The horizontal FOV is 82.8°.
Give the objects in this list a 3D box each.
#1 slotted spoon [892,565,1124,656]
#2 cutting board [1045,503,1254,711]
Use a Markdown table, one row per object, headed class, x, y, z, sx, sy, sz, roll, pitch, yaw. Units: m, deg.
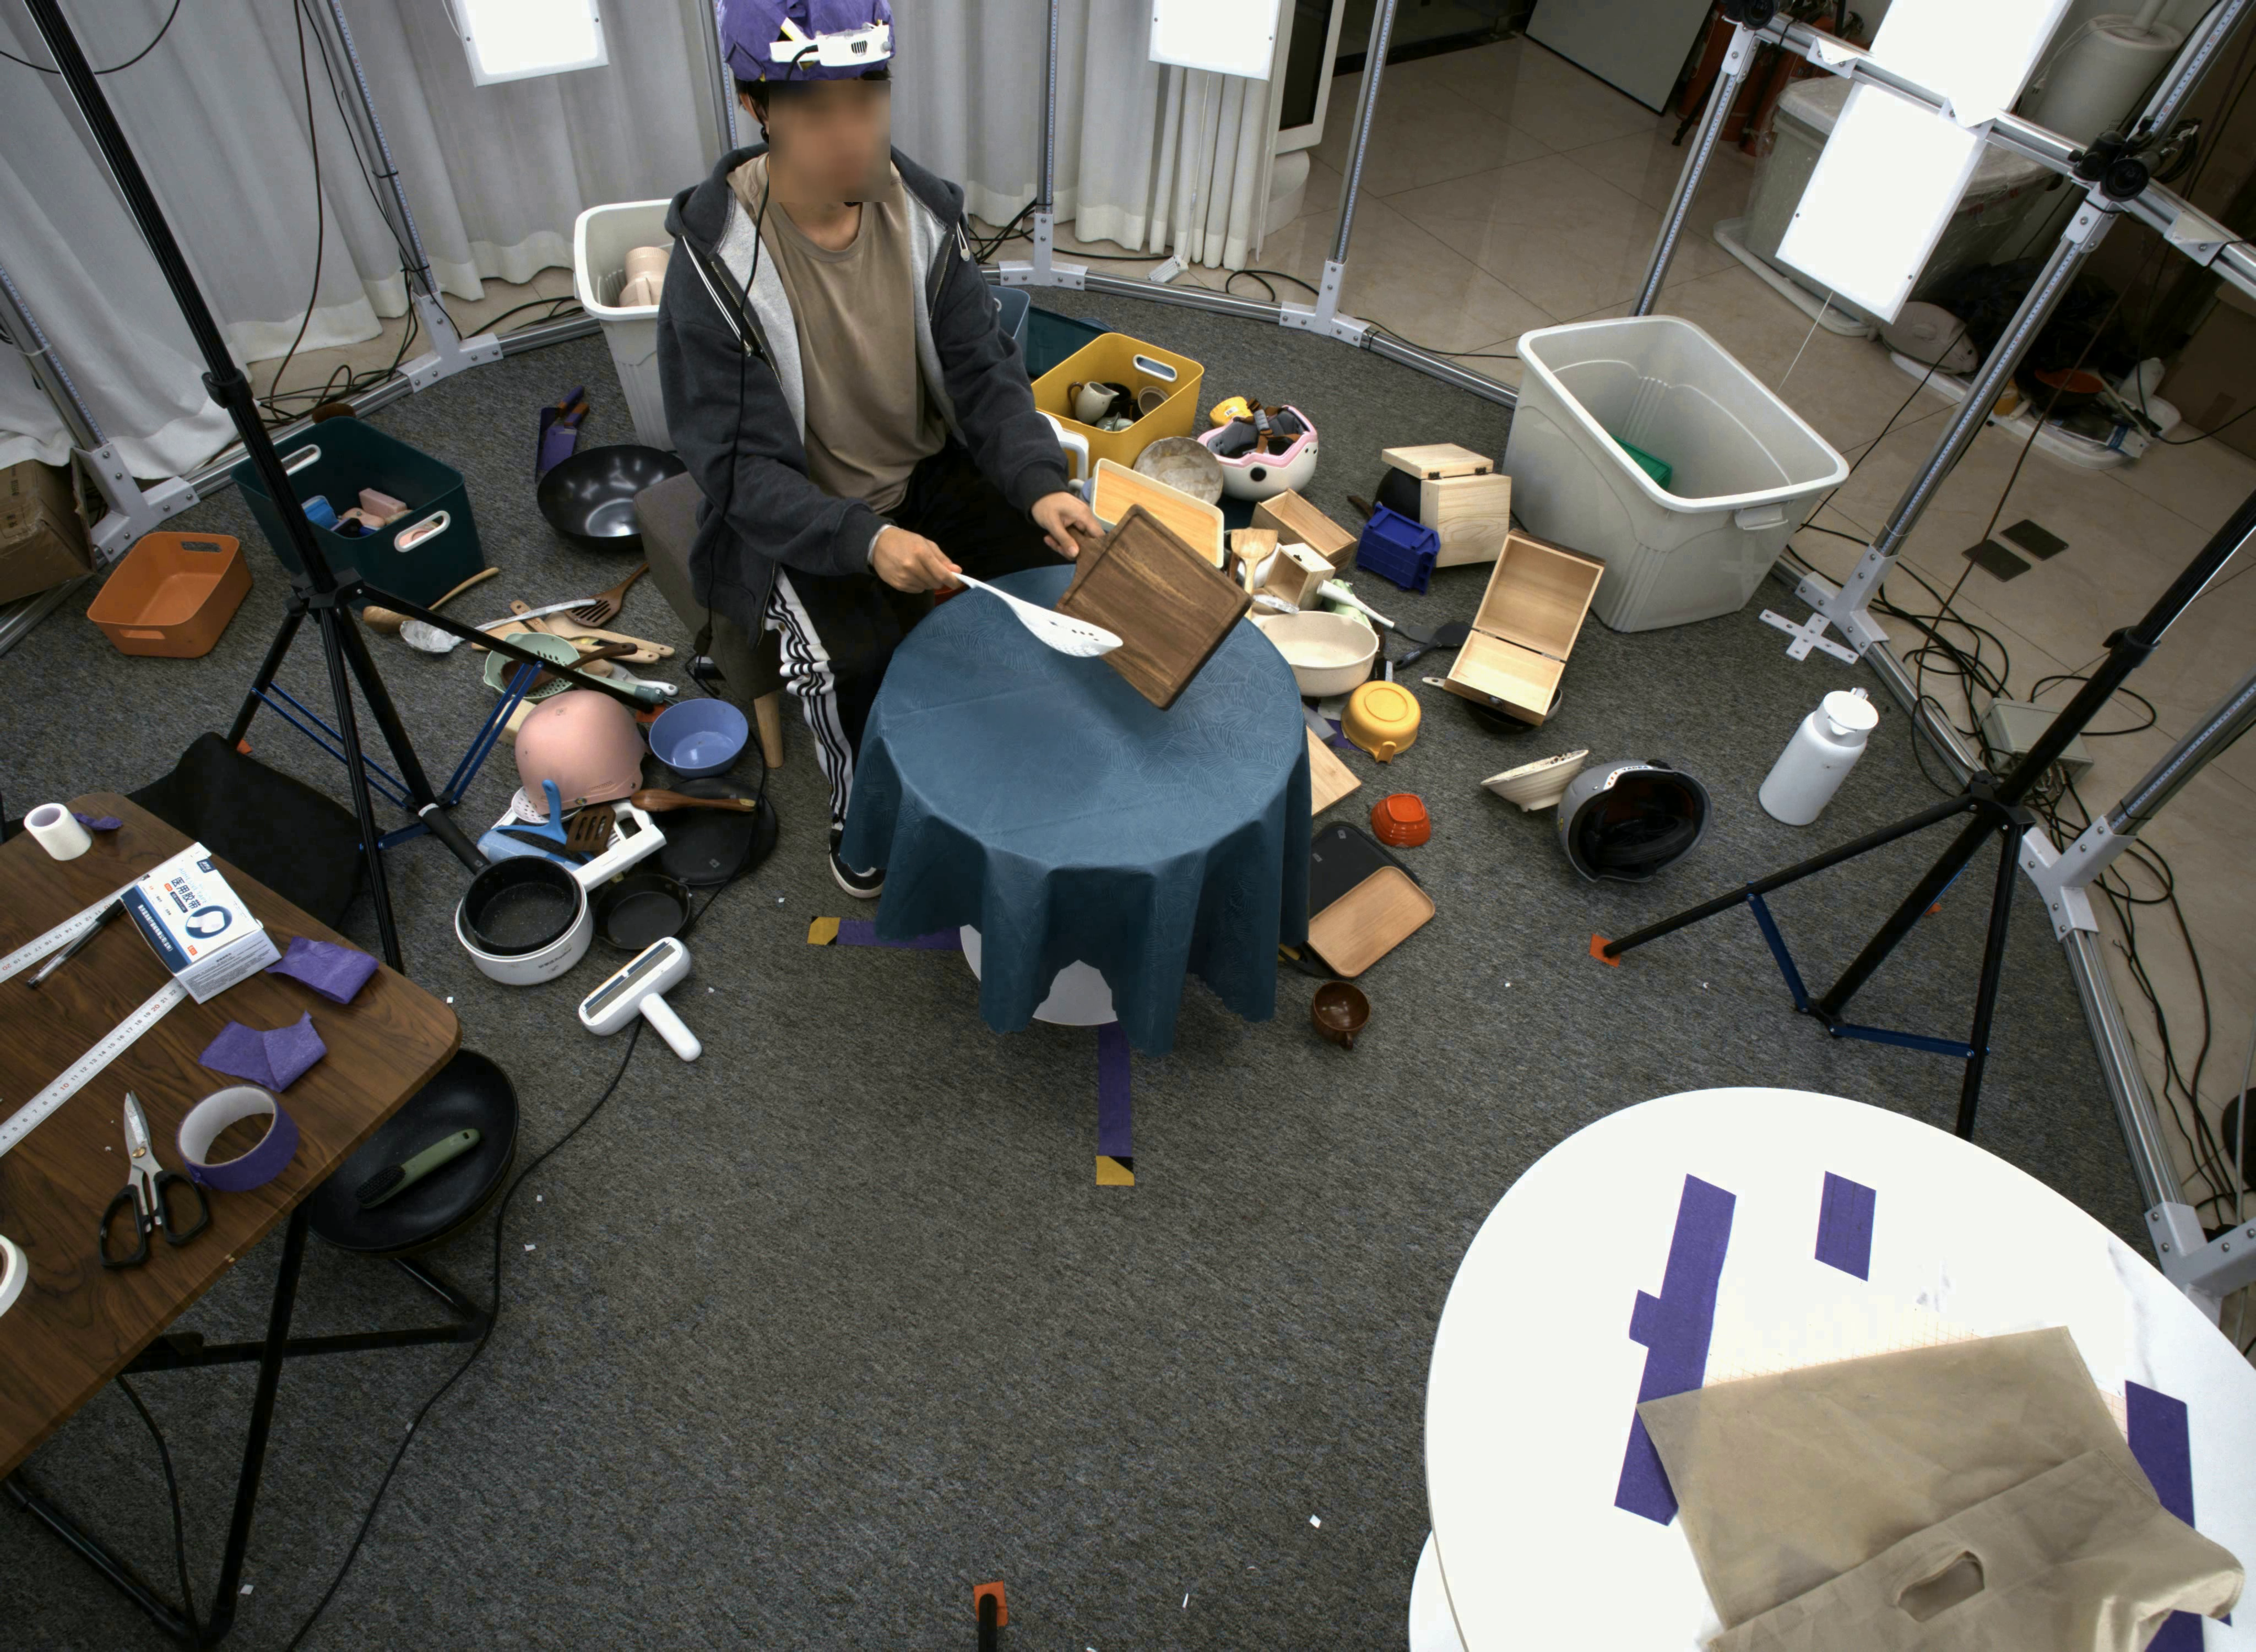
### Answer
| class | x | y | z | sx | sy | sz | roll | pitch | yaw |
| --- | --- | --- | --- | --- | --- | --- | --- | --- | --- |
| slotted spoon | -0.167 | -0.299 | 1.727 | 0.351 | 0.050 | 0.137 | 29 | 18 | 19 |
| cutting board | -0.001 | -0.336 | 1.800 | 0.200 | 0.023 | 0.358 | -51 | 59 | 9 |
